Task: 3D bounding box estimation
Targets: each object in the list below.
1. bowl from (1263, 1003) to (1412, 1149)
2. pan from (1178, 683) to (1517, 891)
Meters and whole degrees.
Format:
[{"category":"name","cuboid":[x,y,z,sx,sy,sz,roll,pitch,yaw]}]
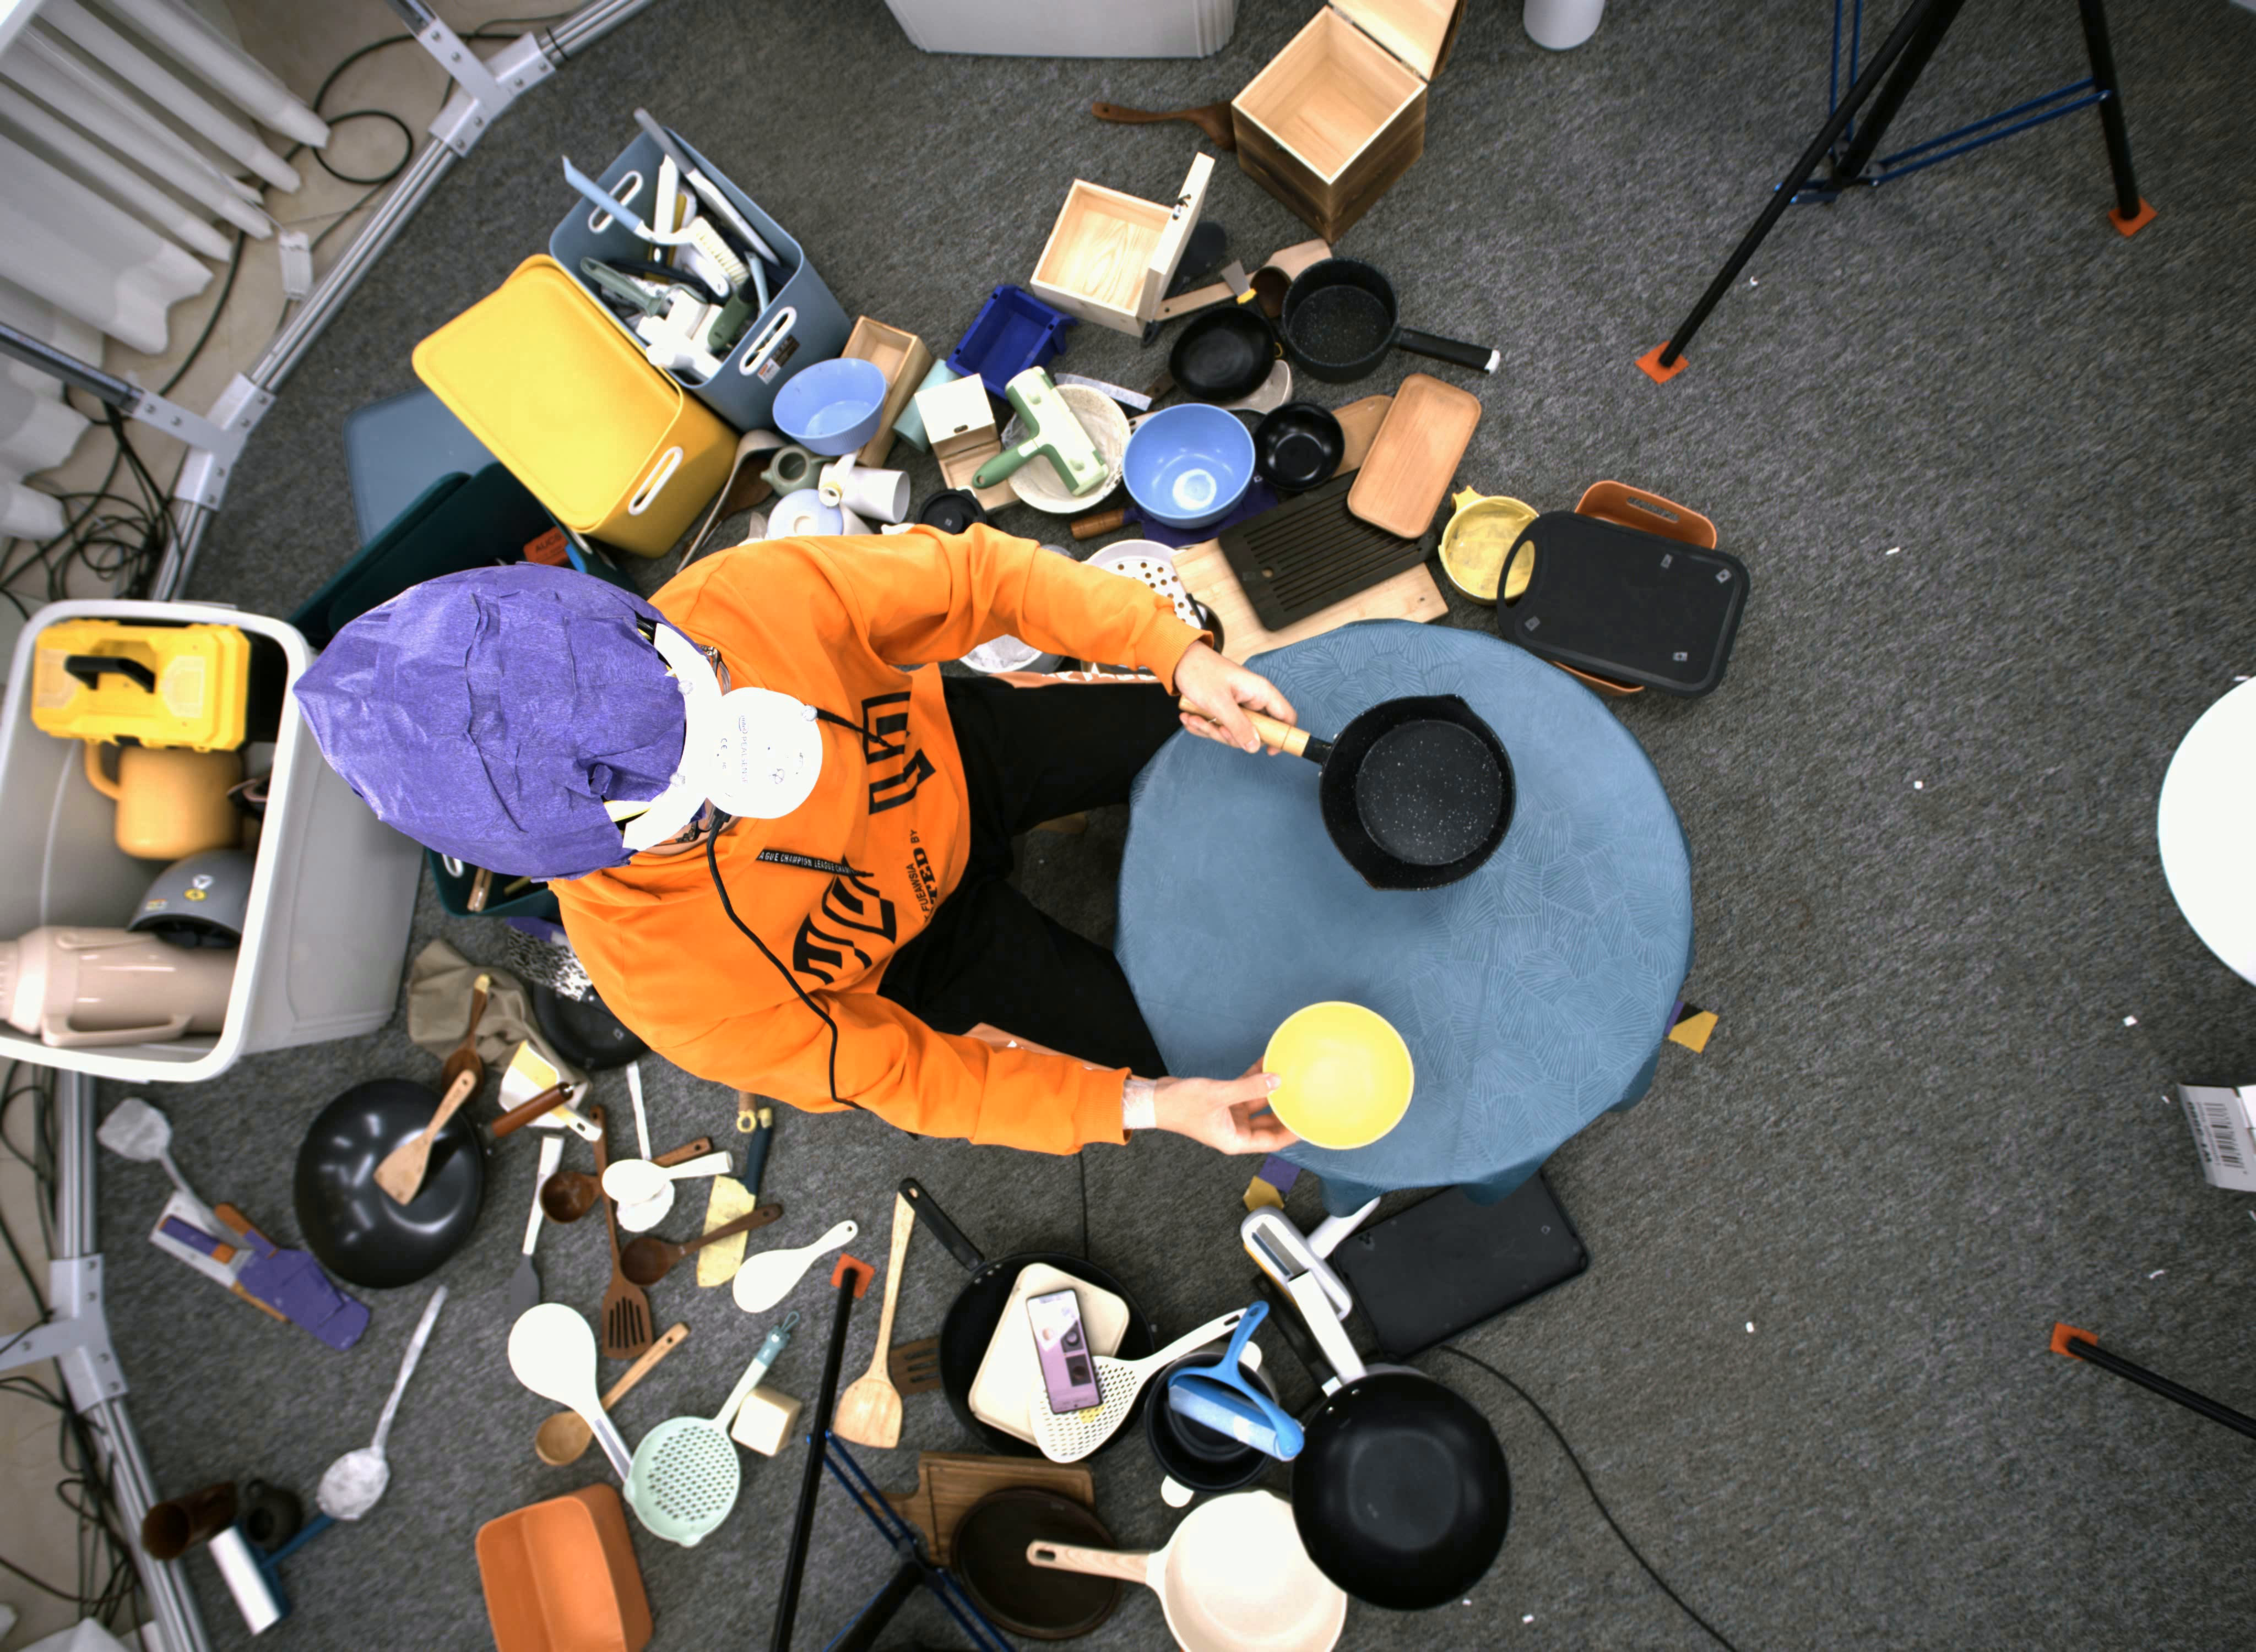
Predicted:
[{"category":"bowl","cuboid":[0.202,0.250,1.358,0.145,0.061,0.142,-1,66,2]},{"category":"pan","cuboid":[0.212,-0.064,1.349,0.342,0.107,0.210,24,104,17]}]
